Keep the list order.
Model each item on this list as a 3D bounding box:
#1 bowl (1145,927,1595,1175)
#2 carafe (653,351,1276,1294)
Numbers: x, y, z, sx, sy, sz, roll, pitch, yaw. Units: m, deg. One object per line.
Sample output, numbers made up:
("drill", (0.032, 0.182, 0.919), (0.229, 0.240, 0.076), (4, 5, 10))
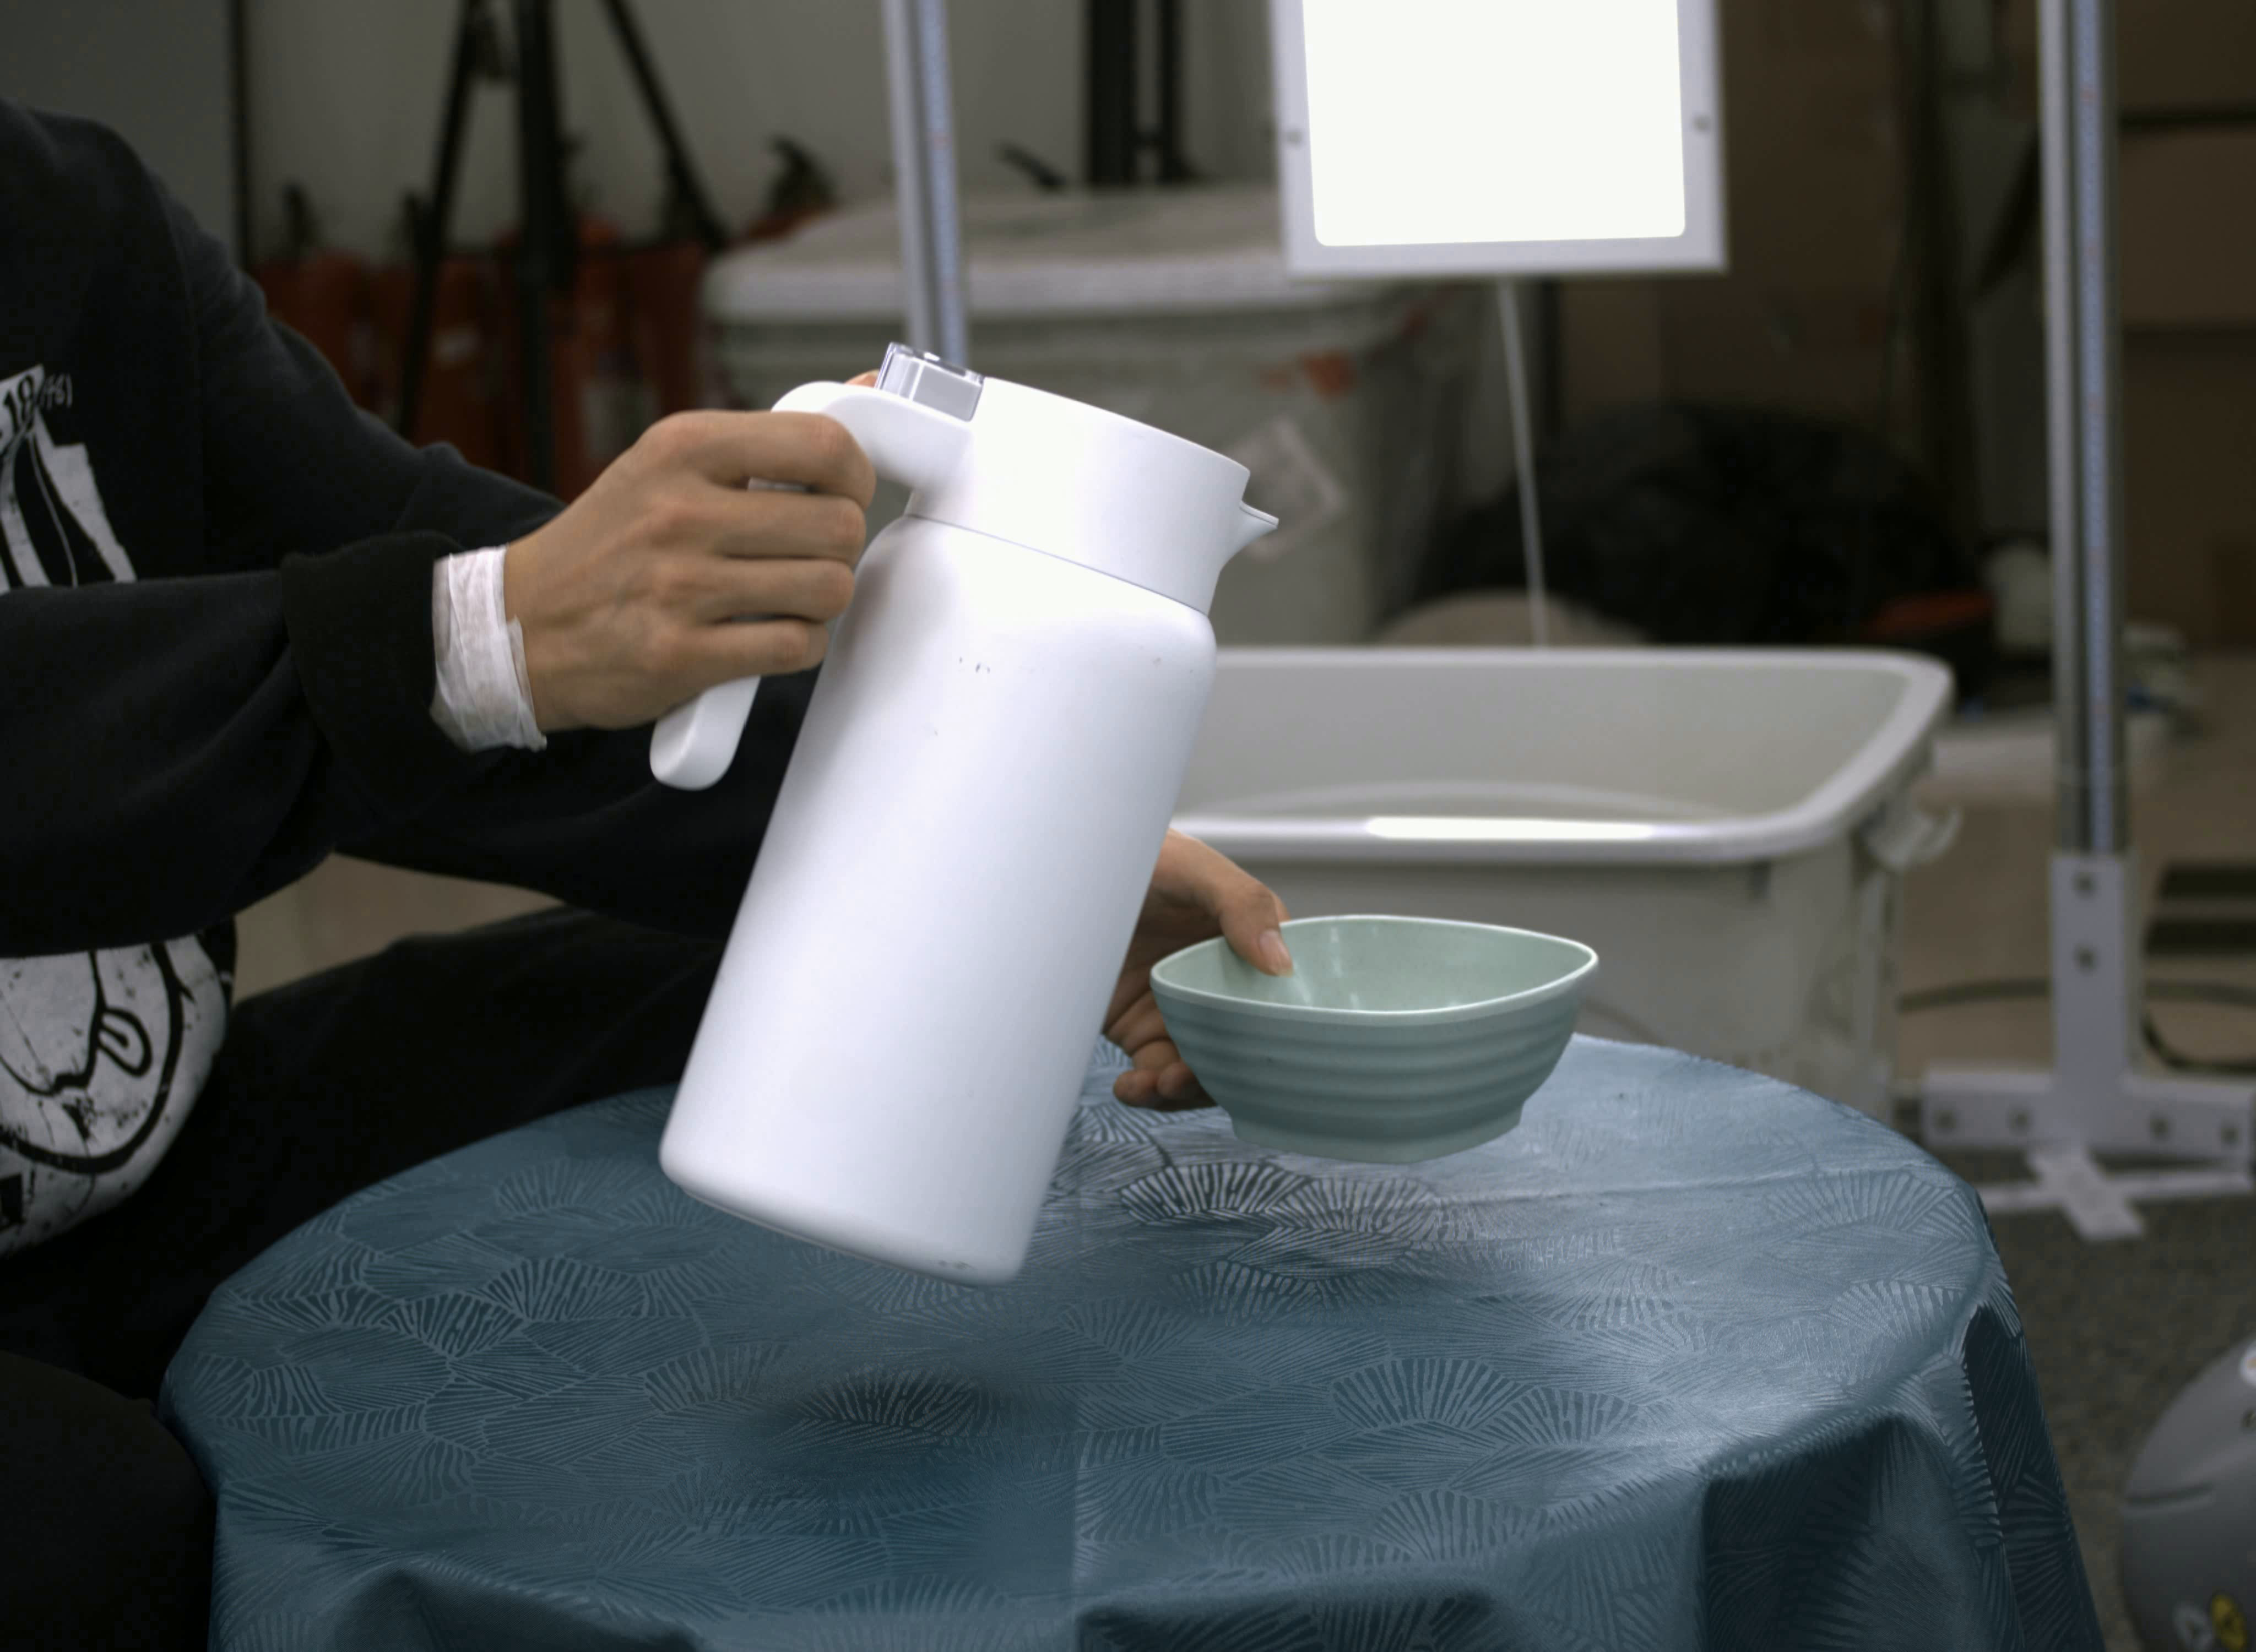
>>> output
("bowl", (0.082, 0.077, 1.835), (0.151, 0.059, 0.151), (-2, 11, -1))
("carafe", (-0.063, -0.003, 1.680), (0.169, 0.269, 0.126), (18, 2, -27))
